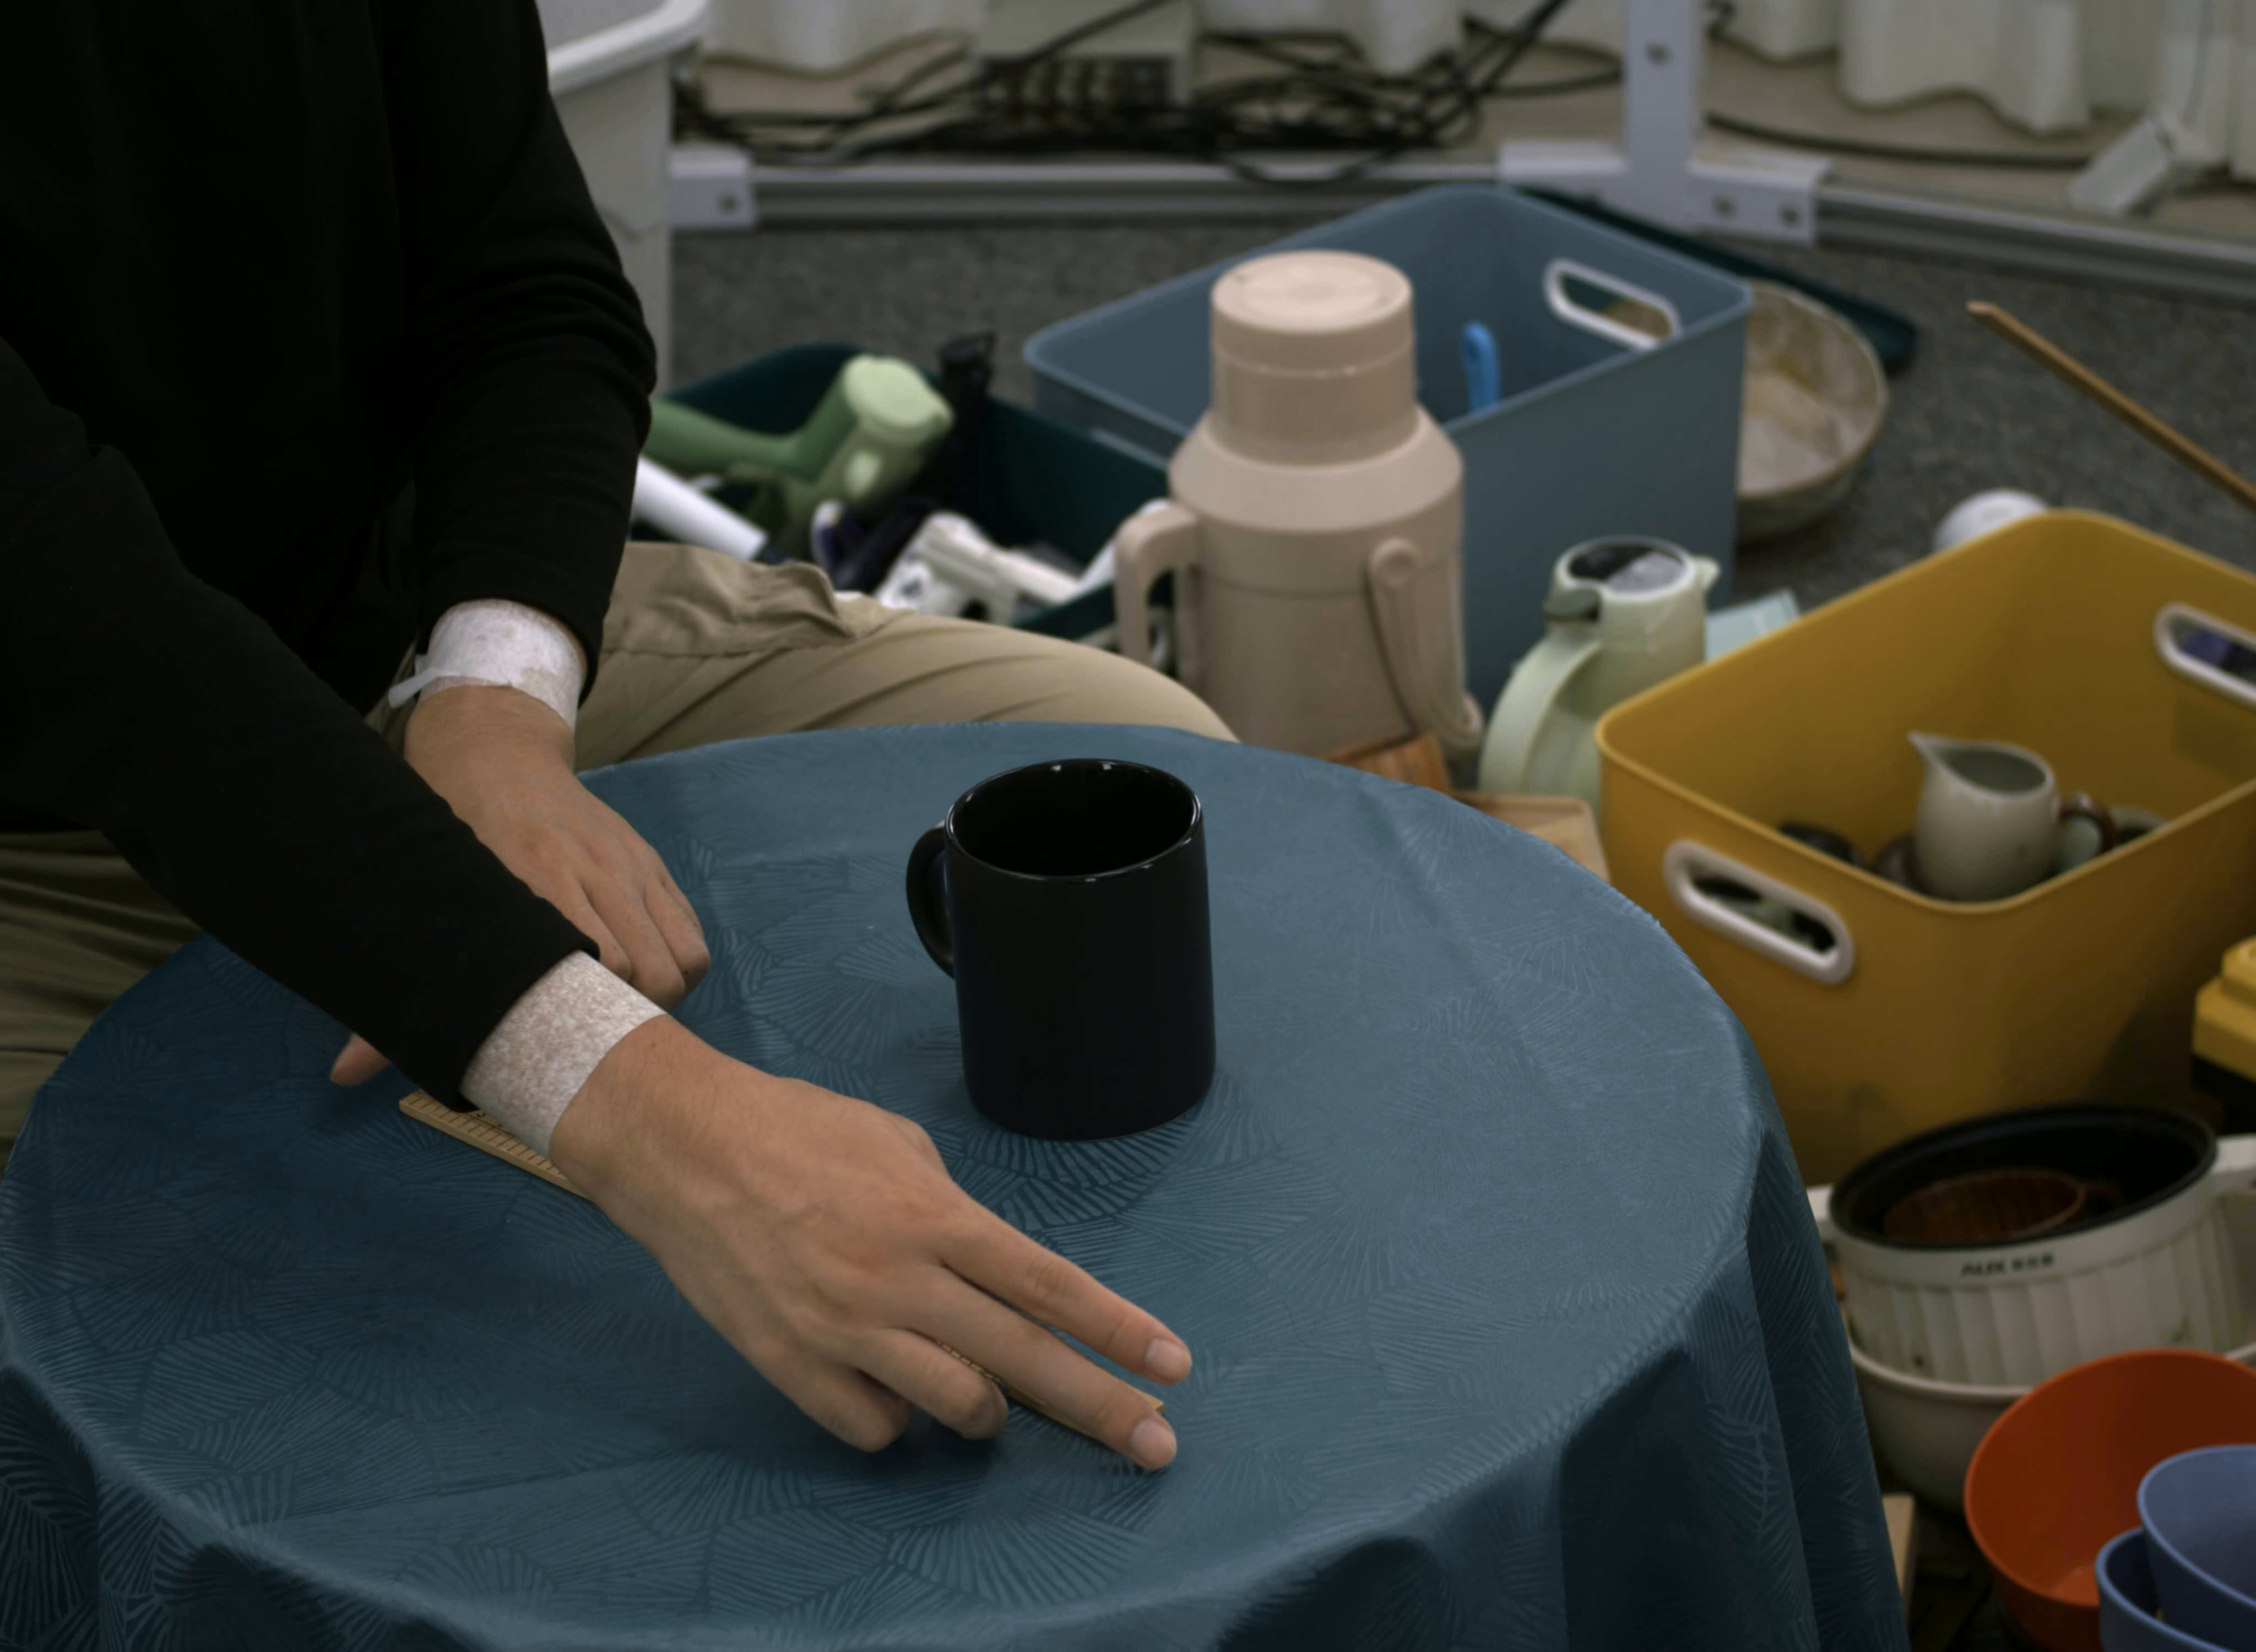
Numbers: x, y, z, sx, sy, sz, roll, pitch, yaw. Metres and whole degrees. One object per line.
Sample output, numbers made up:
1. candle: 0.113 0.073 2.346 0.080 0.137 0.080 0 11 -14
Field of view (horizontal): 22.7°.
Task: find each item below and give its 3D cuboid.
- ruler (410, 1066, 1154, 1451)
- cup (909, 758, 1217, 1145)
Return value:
1. ruler: -0.120 0.136 1.836 0.331 0.022 0.028 22 33 39
2. cup: -0.029 0.037 1.918 0.123 0.104 0.090 21 37 40
